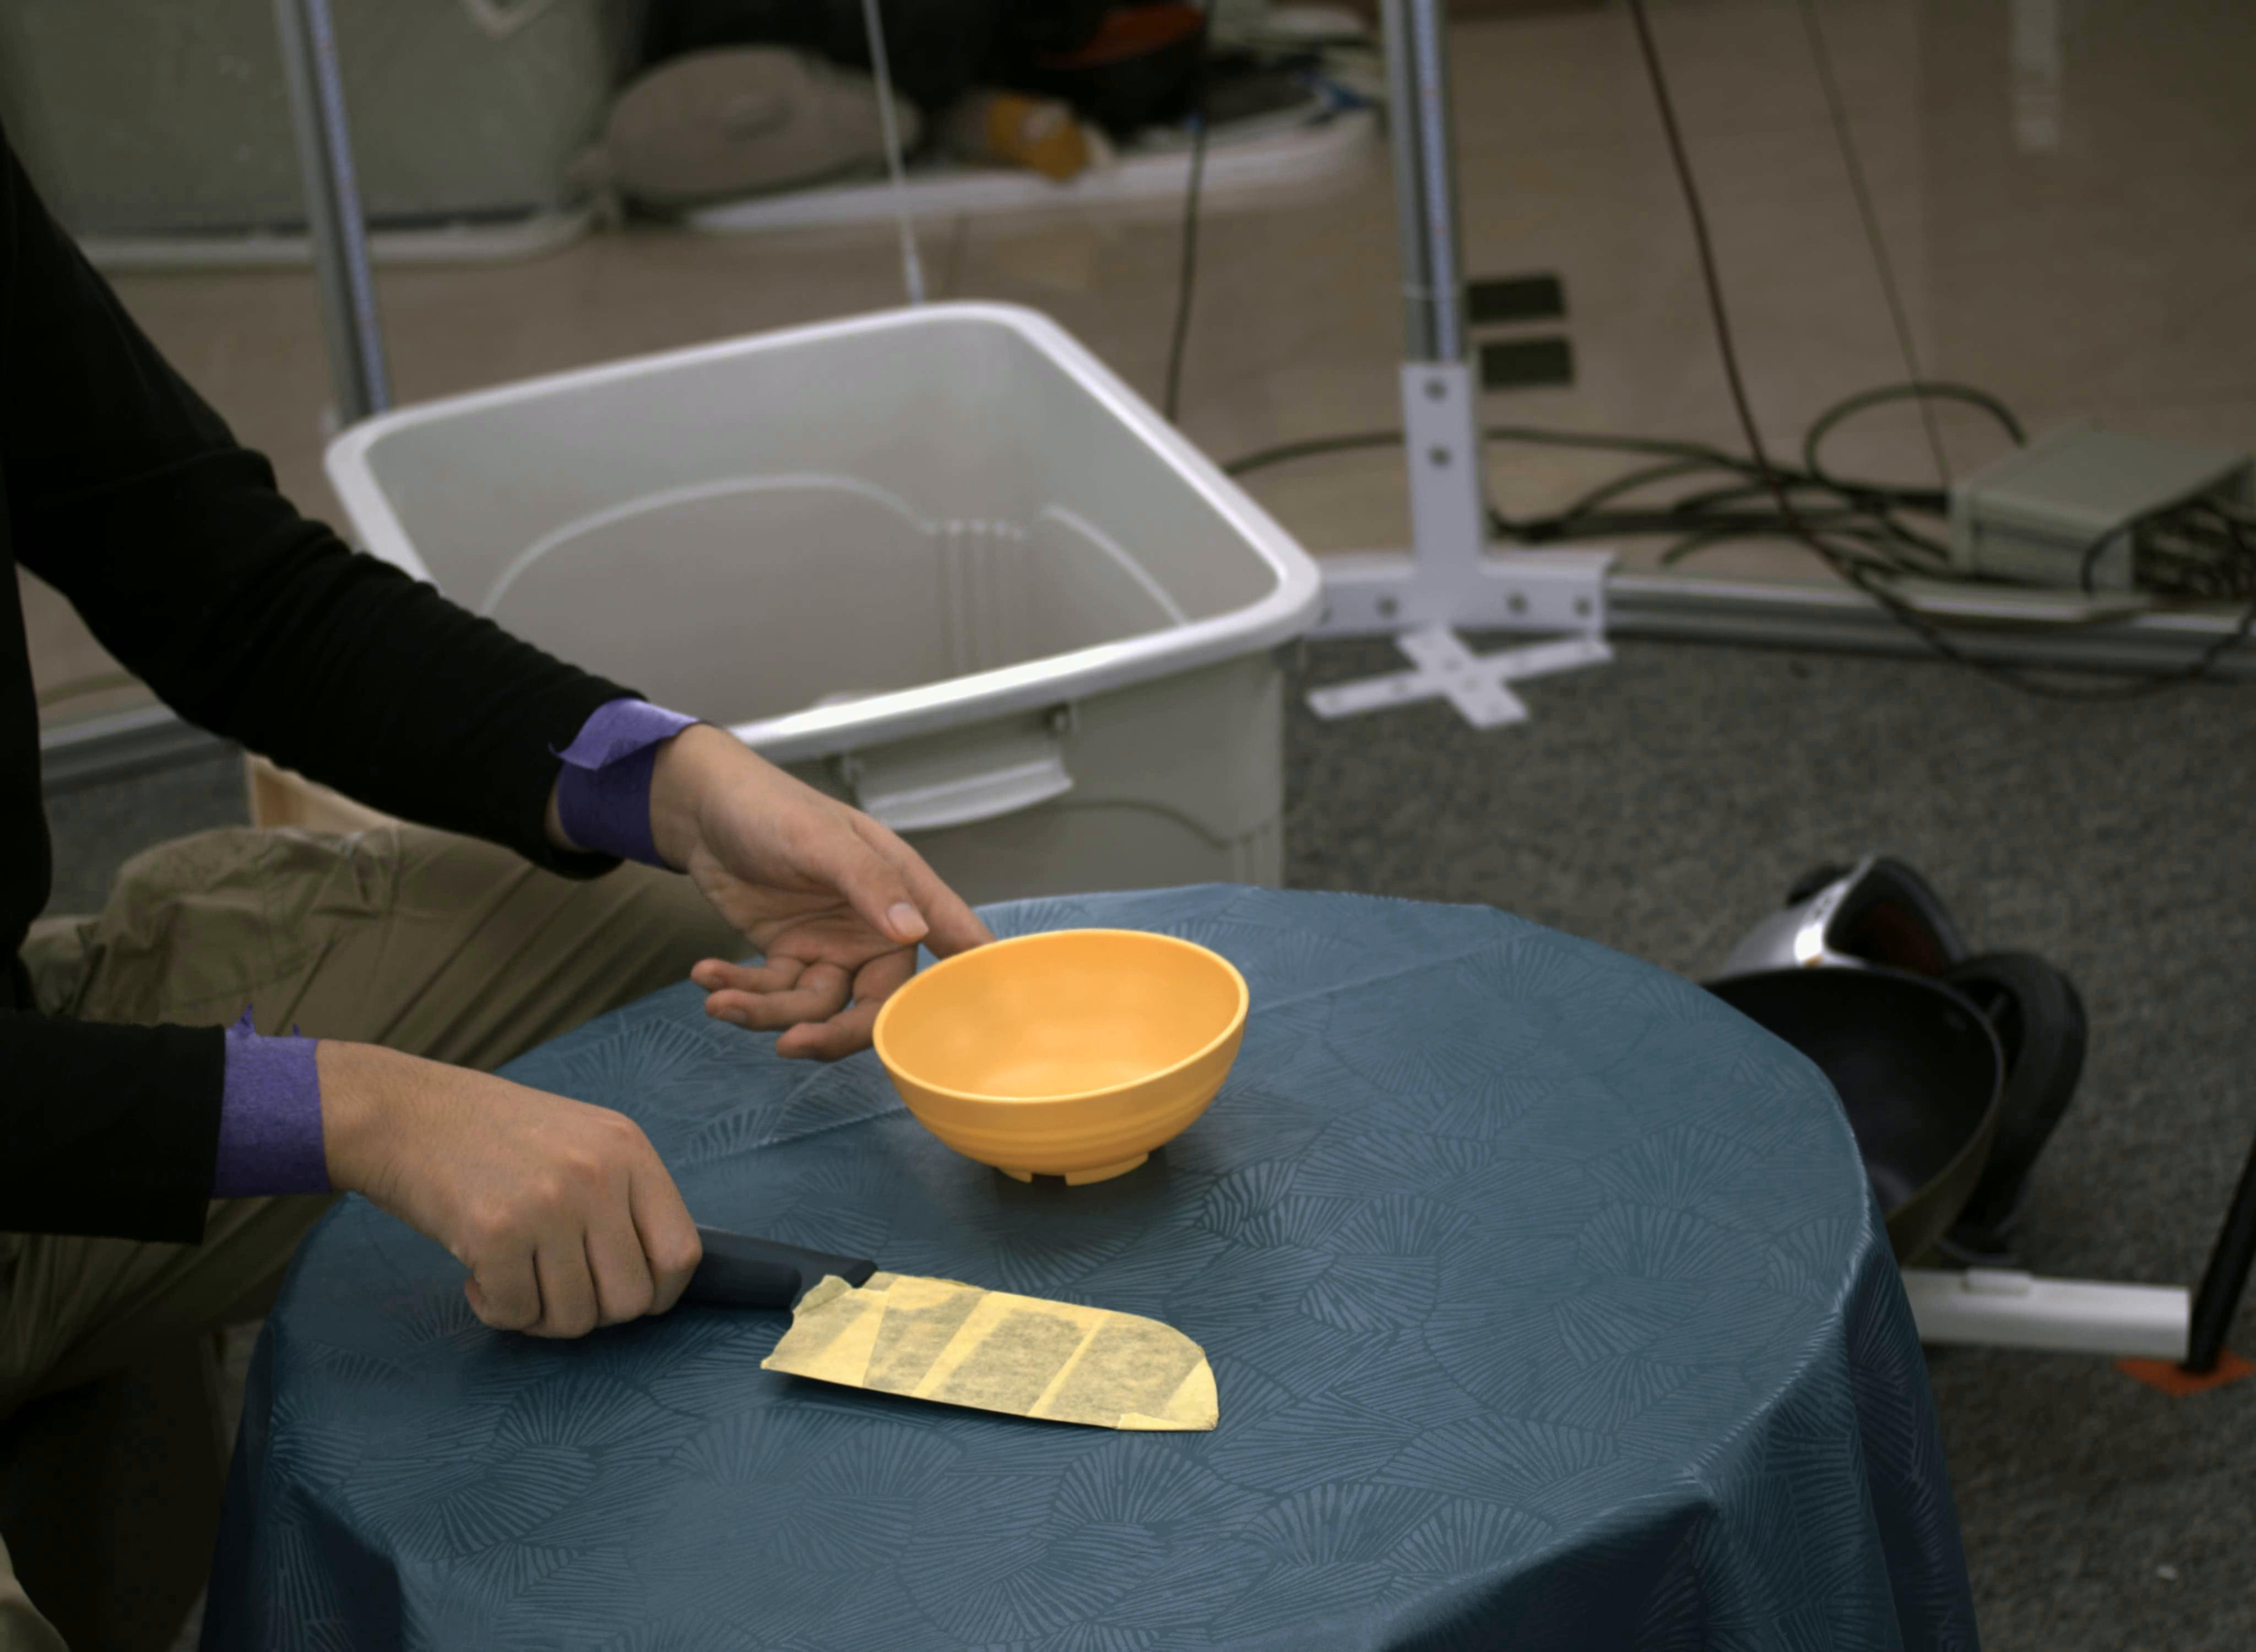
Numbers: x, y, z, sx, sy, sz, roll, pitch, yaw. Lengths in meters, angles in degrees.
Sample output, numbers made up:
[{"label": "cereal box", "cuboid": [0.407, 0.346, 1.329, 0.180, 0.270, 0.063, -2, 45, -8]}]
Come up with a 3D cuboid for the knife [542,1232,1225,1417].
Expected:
[{"label": "knife", "cuboid": [-0.095, 0.183, 2.064, 0.288, 0.027, 0.080, 8, 27, 25]}]

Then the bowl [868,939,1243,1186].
[{"label": "bowl", "cuboid": [-0.026, 0.098, 2.174, 0.145, 0.061, 0.143, -4, 23, 2]}]
